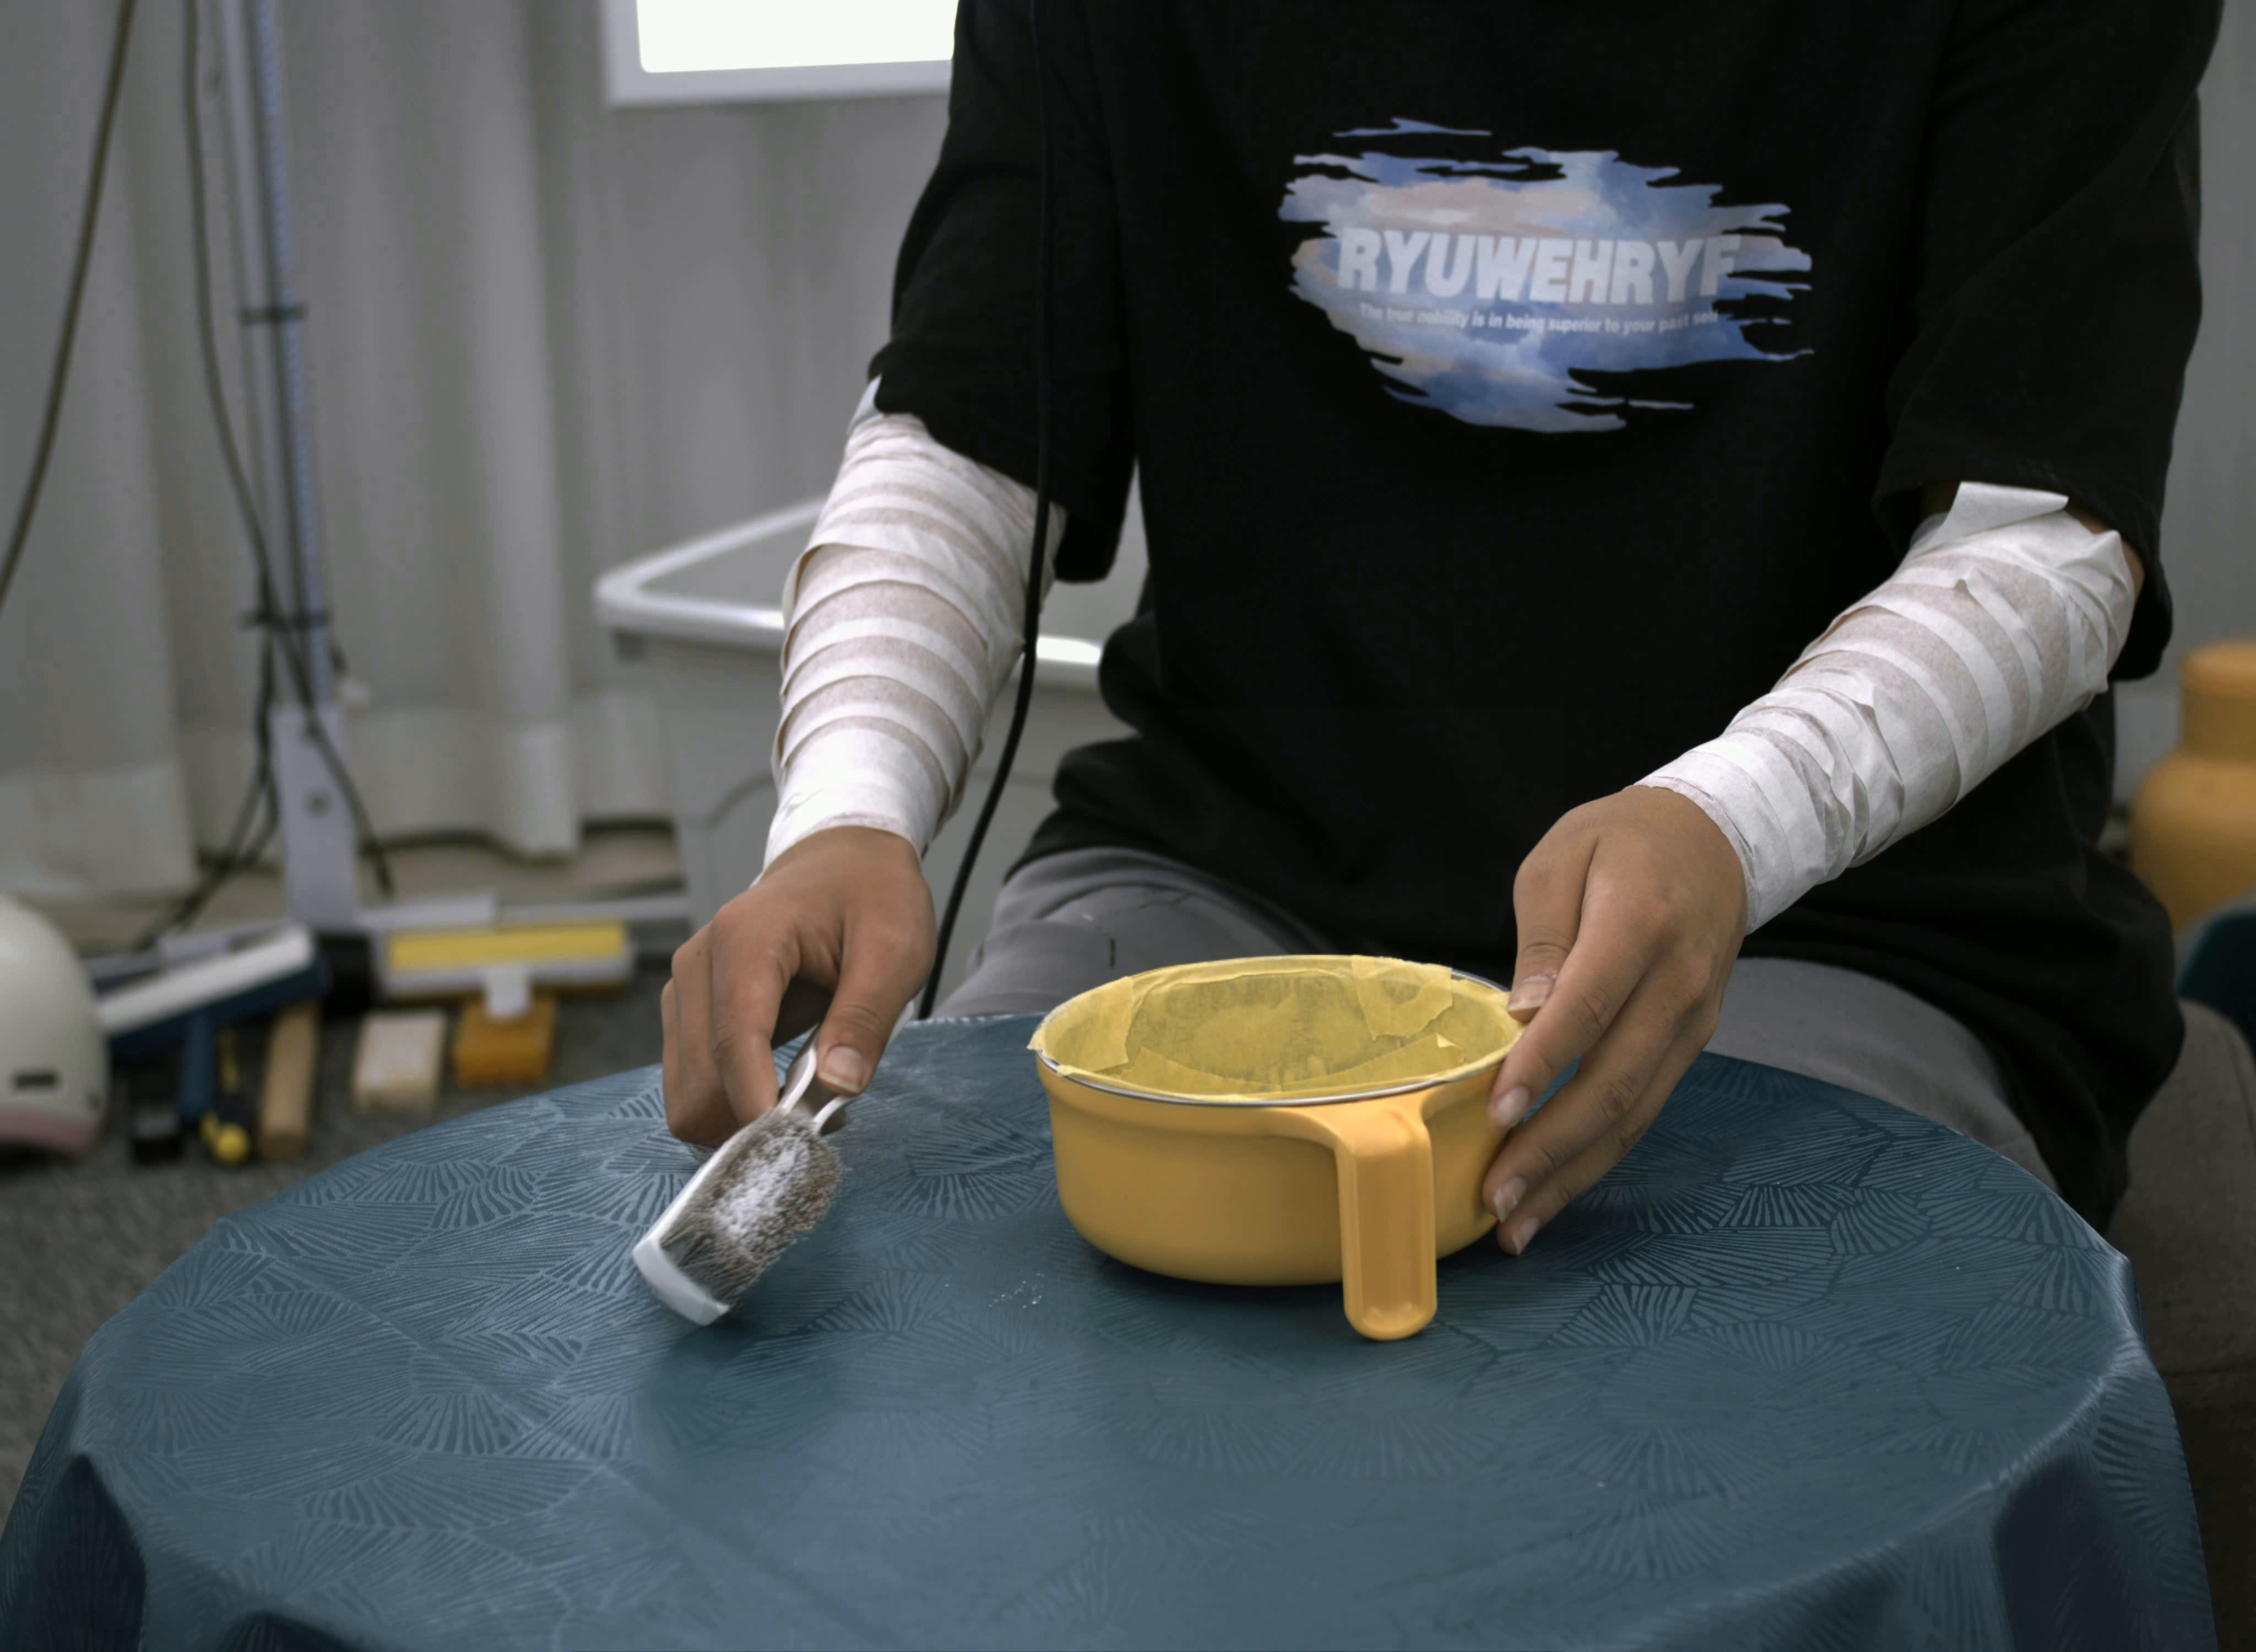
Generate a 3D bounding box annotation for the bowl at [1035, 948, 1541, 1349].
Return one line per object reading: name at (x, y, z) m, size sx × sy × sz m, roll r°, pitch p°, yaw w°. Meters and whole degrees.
bowl at (0.051, 0.094, 1.647) m, size 0.152 × 0.074 × 0.181 m, roll -2°, pitch 14°, yaw -18°

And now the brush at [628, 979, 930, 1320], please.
brush at (-0.093, 0.086, 1.698) m, size 0.050 × 0.034 × 0.245 m, roll -43°, pitch 3°, yaw 25°
